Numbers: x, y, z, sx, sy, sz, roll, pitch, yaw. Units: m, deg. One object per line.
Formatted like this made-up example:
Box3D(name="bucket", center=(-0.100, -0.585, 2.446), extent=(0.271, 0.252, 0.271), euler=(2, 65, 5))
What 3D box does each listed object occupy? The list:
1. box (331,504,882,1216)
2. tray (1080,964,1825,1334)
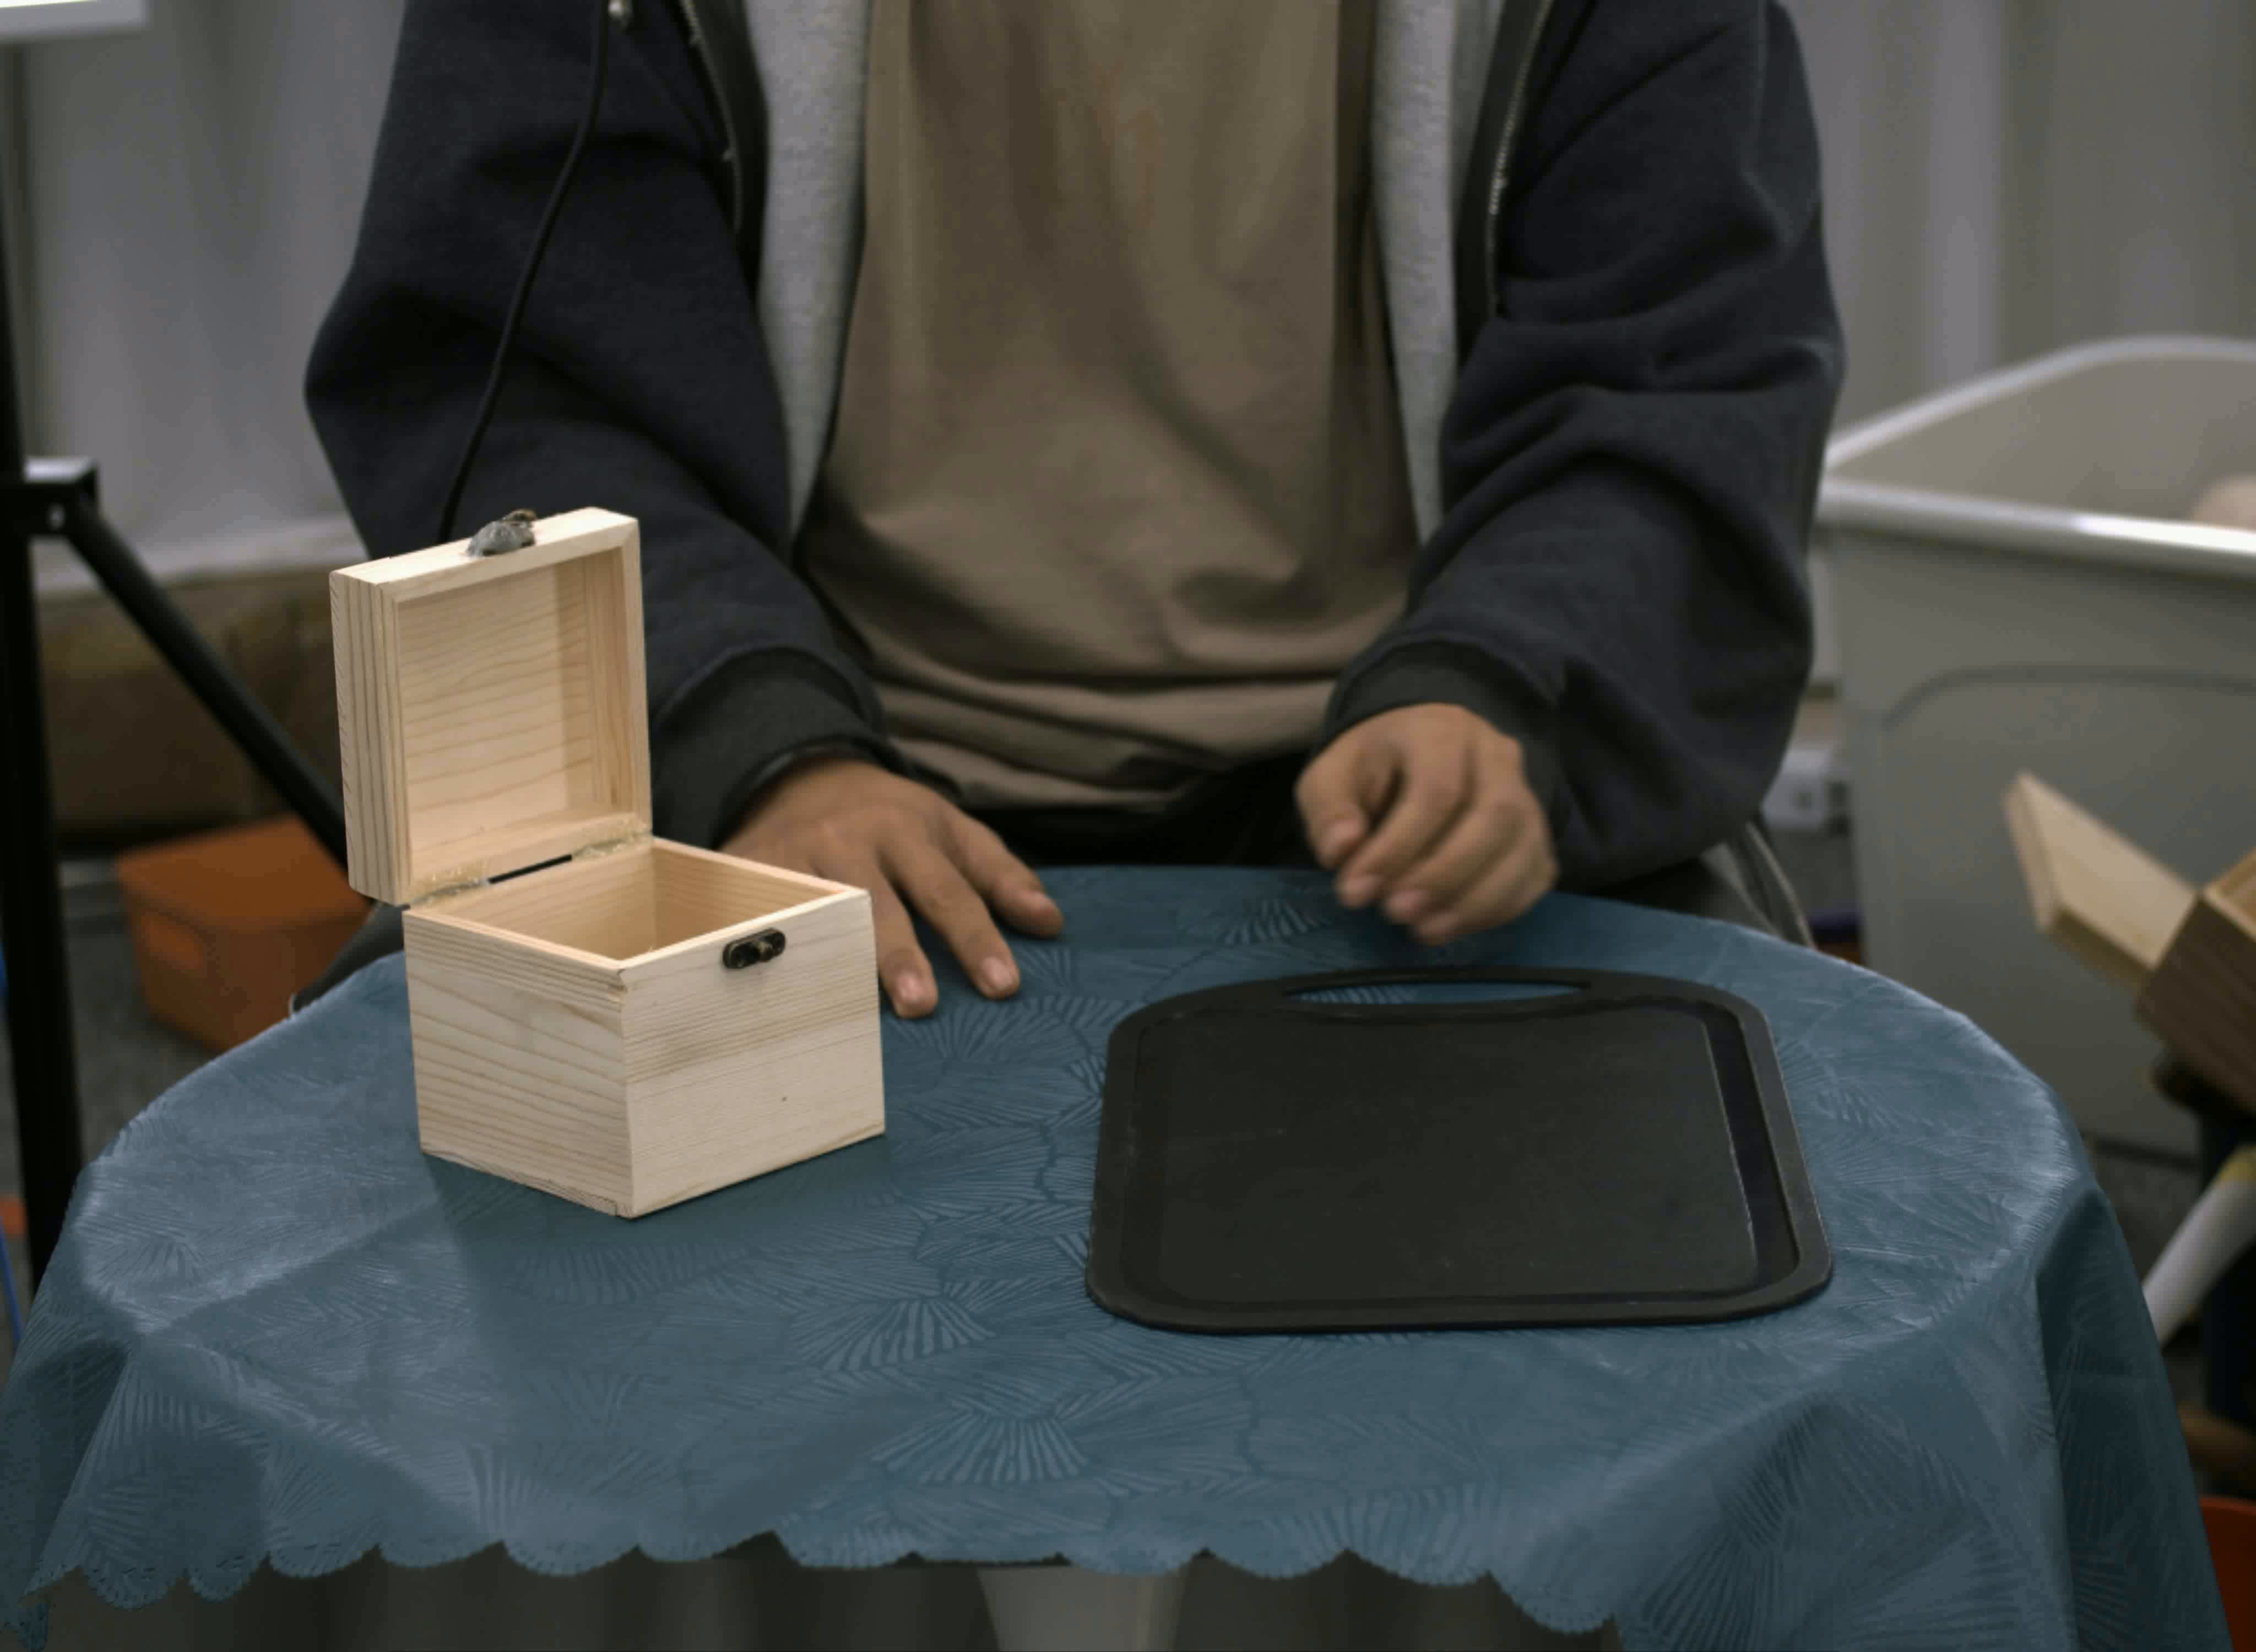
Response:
Box3D(name="box", center=(-0.155, 0.006, 1.608), extent=(0.100, 0.184, 0.137), euler=(-17, 20, -42))
Box3D(name="tray", center=(0.095, 0.091, 1.594), extent=(0.211, 0.010, 0.326), euler=(-2, 16, 3))
